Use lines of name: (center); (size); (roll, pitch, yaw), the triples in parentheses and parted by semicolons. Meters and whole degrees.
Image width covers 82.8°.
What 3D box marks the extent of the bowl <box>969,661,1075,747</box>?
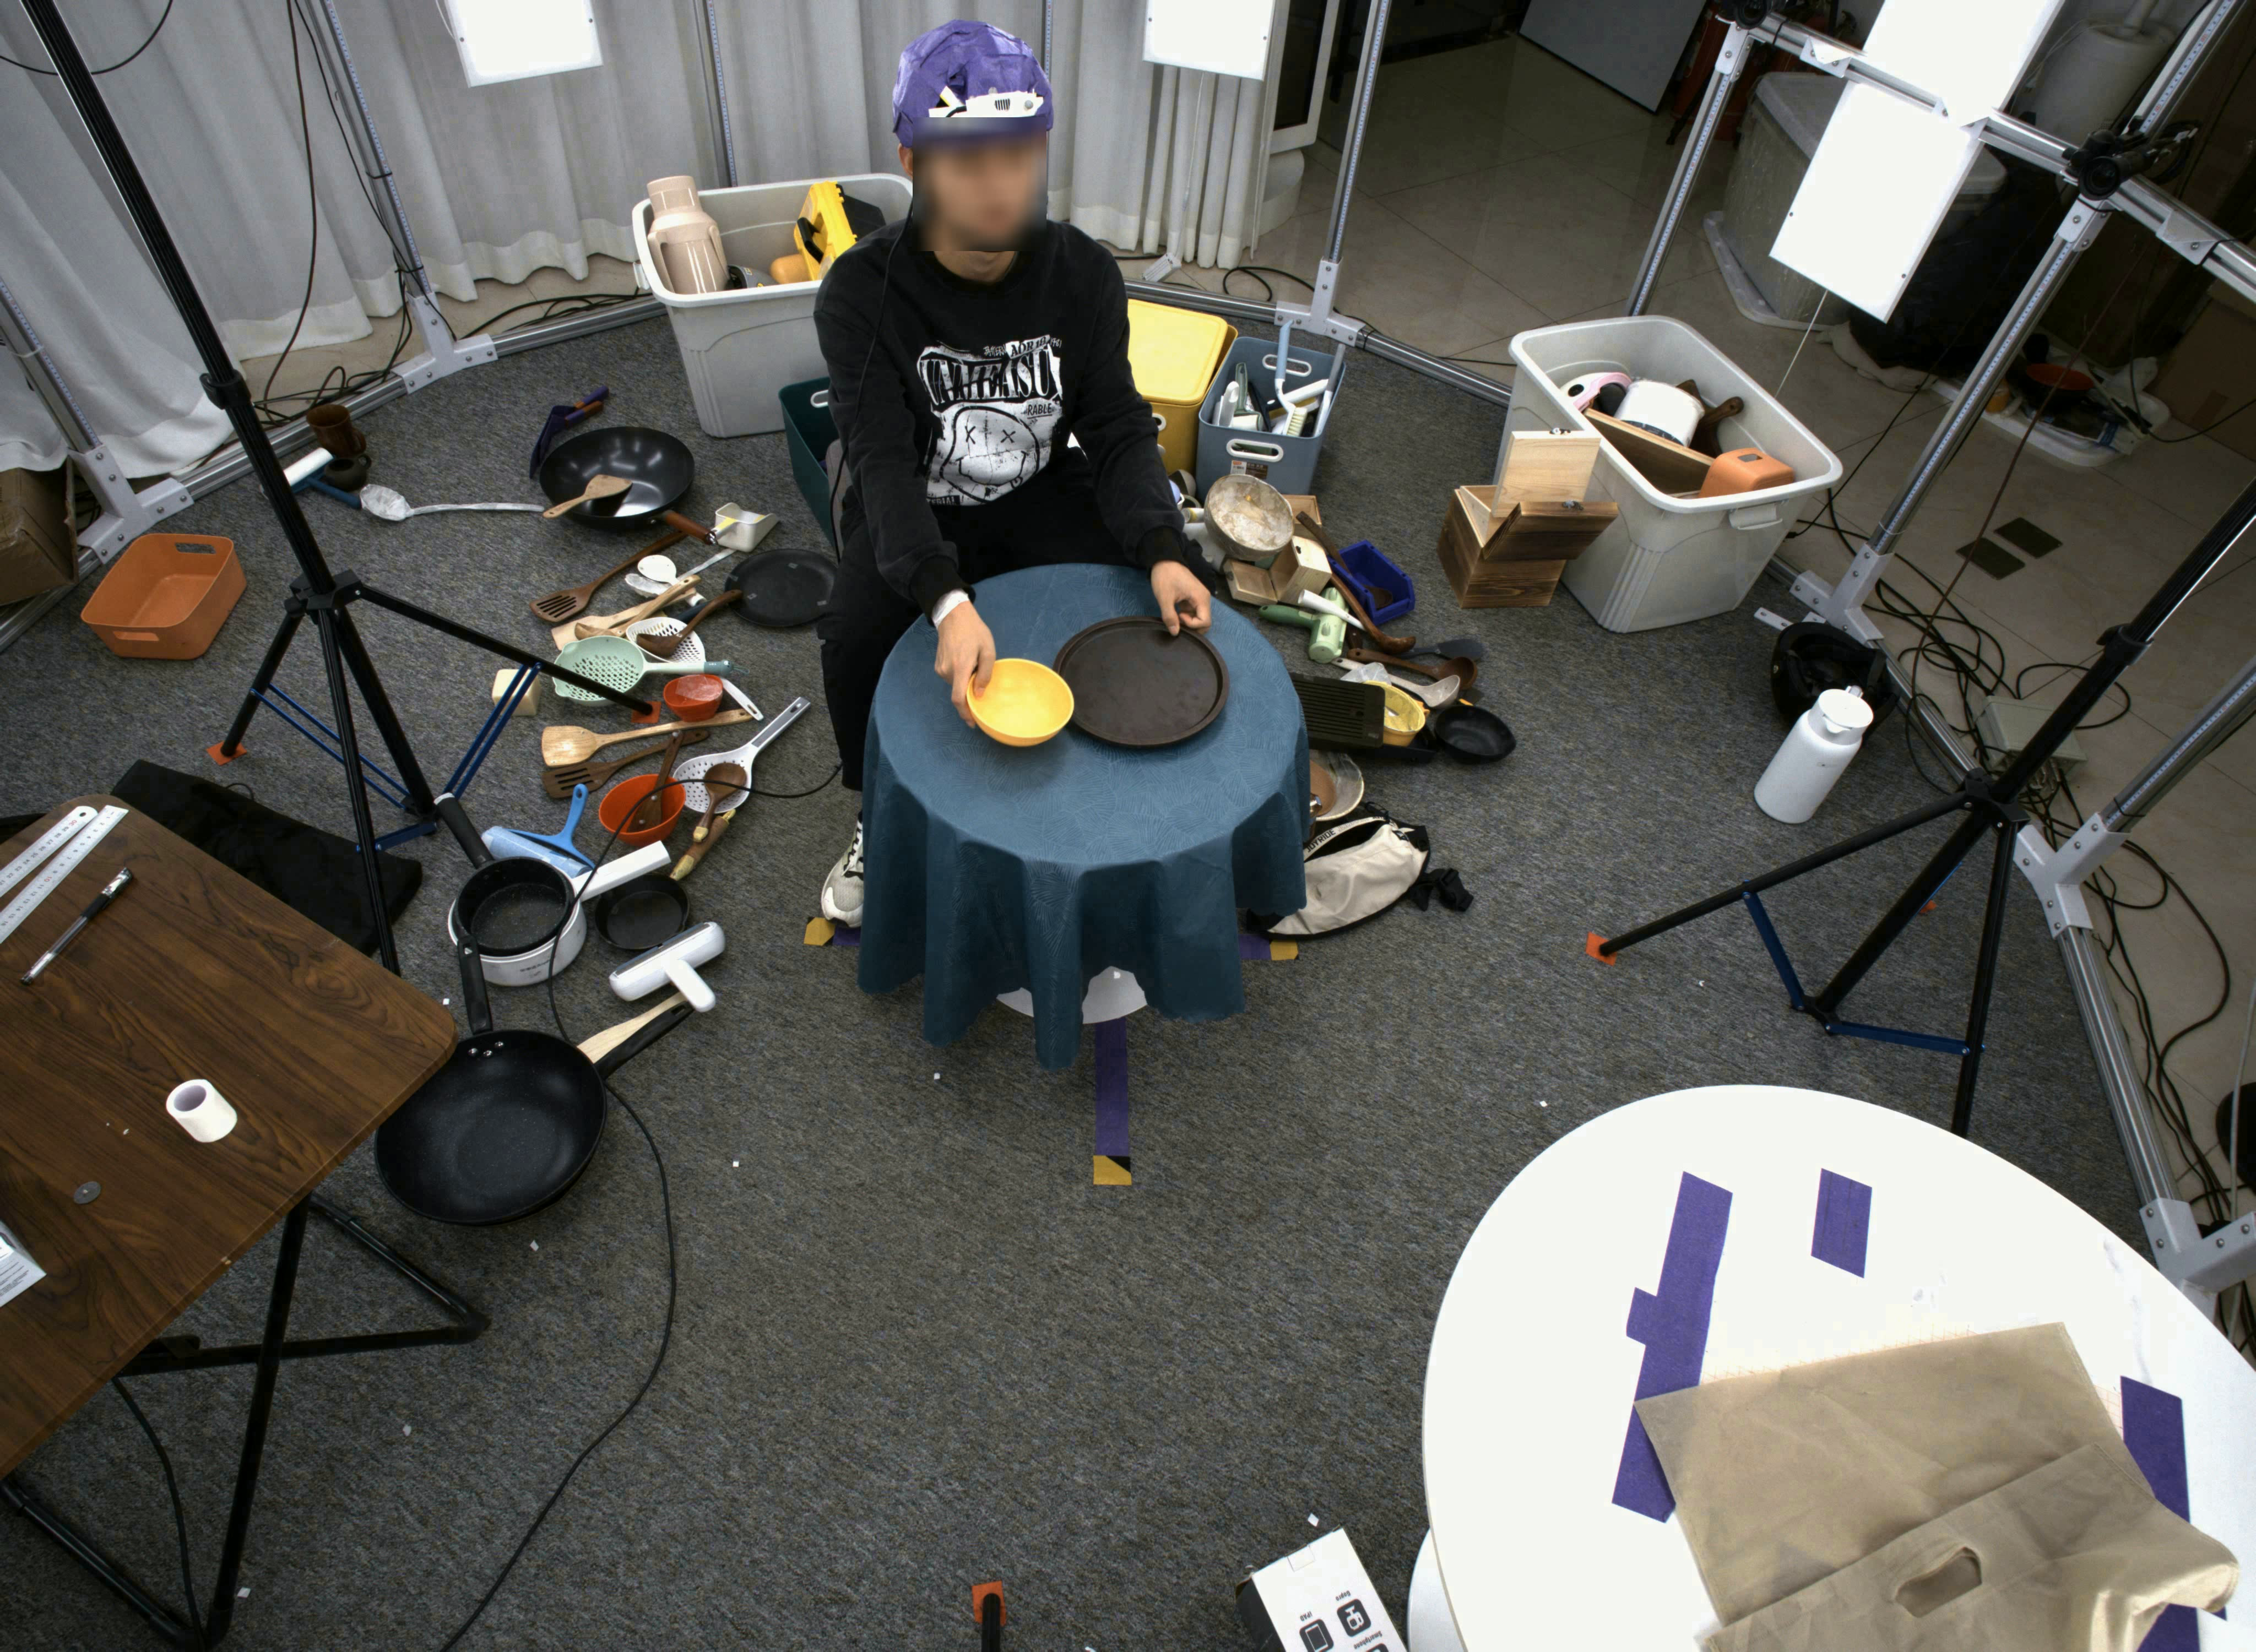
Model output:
bowl: (-0.148, -0.155, 1.752); (0.145, 0.059, 0.149); (8, 47, -9)

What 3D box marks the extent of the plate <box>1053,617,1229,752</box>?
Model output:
plate: (0.019, -0.204, 1.842); (0.254, 0.028, 0.261); (-1, 51, 0)
